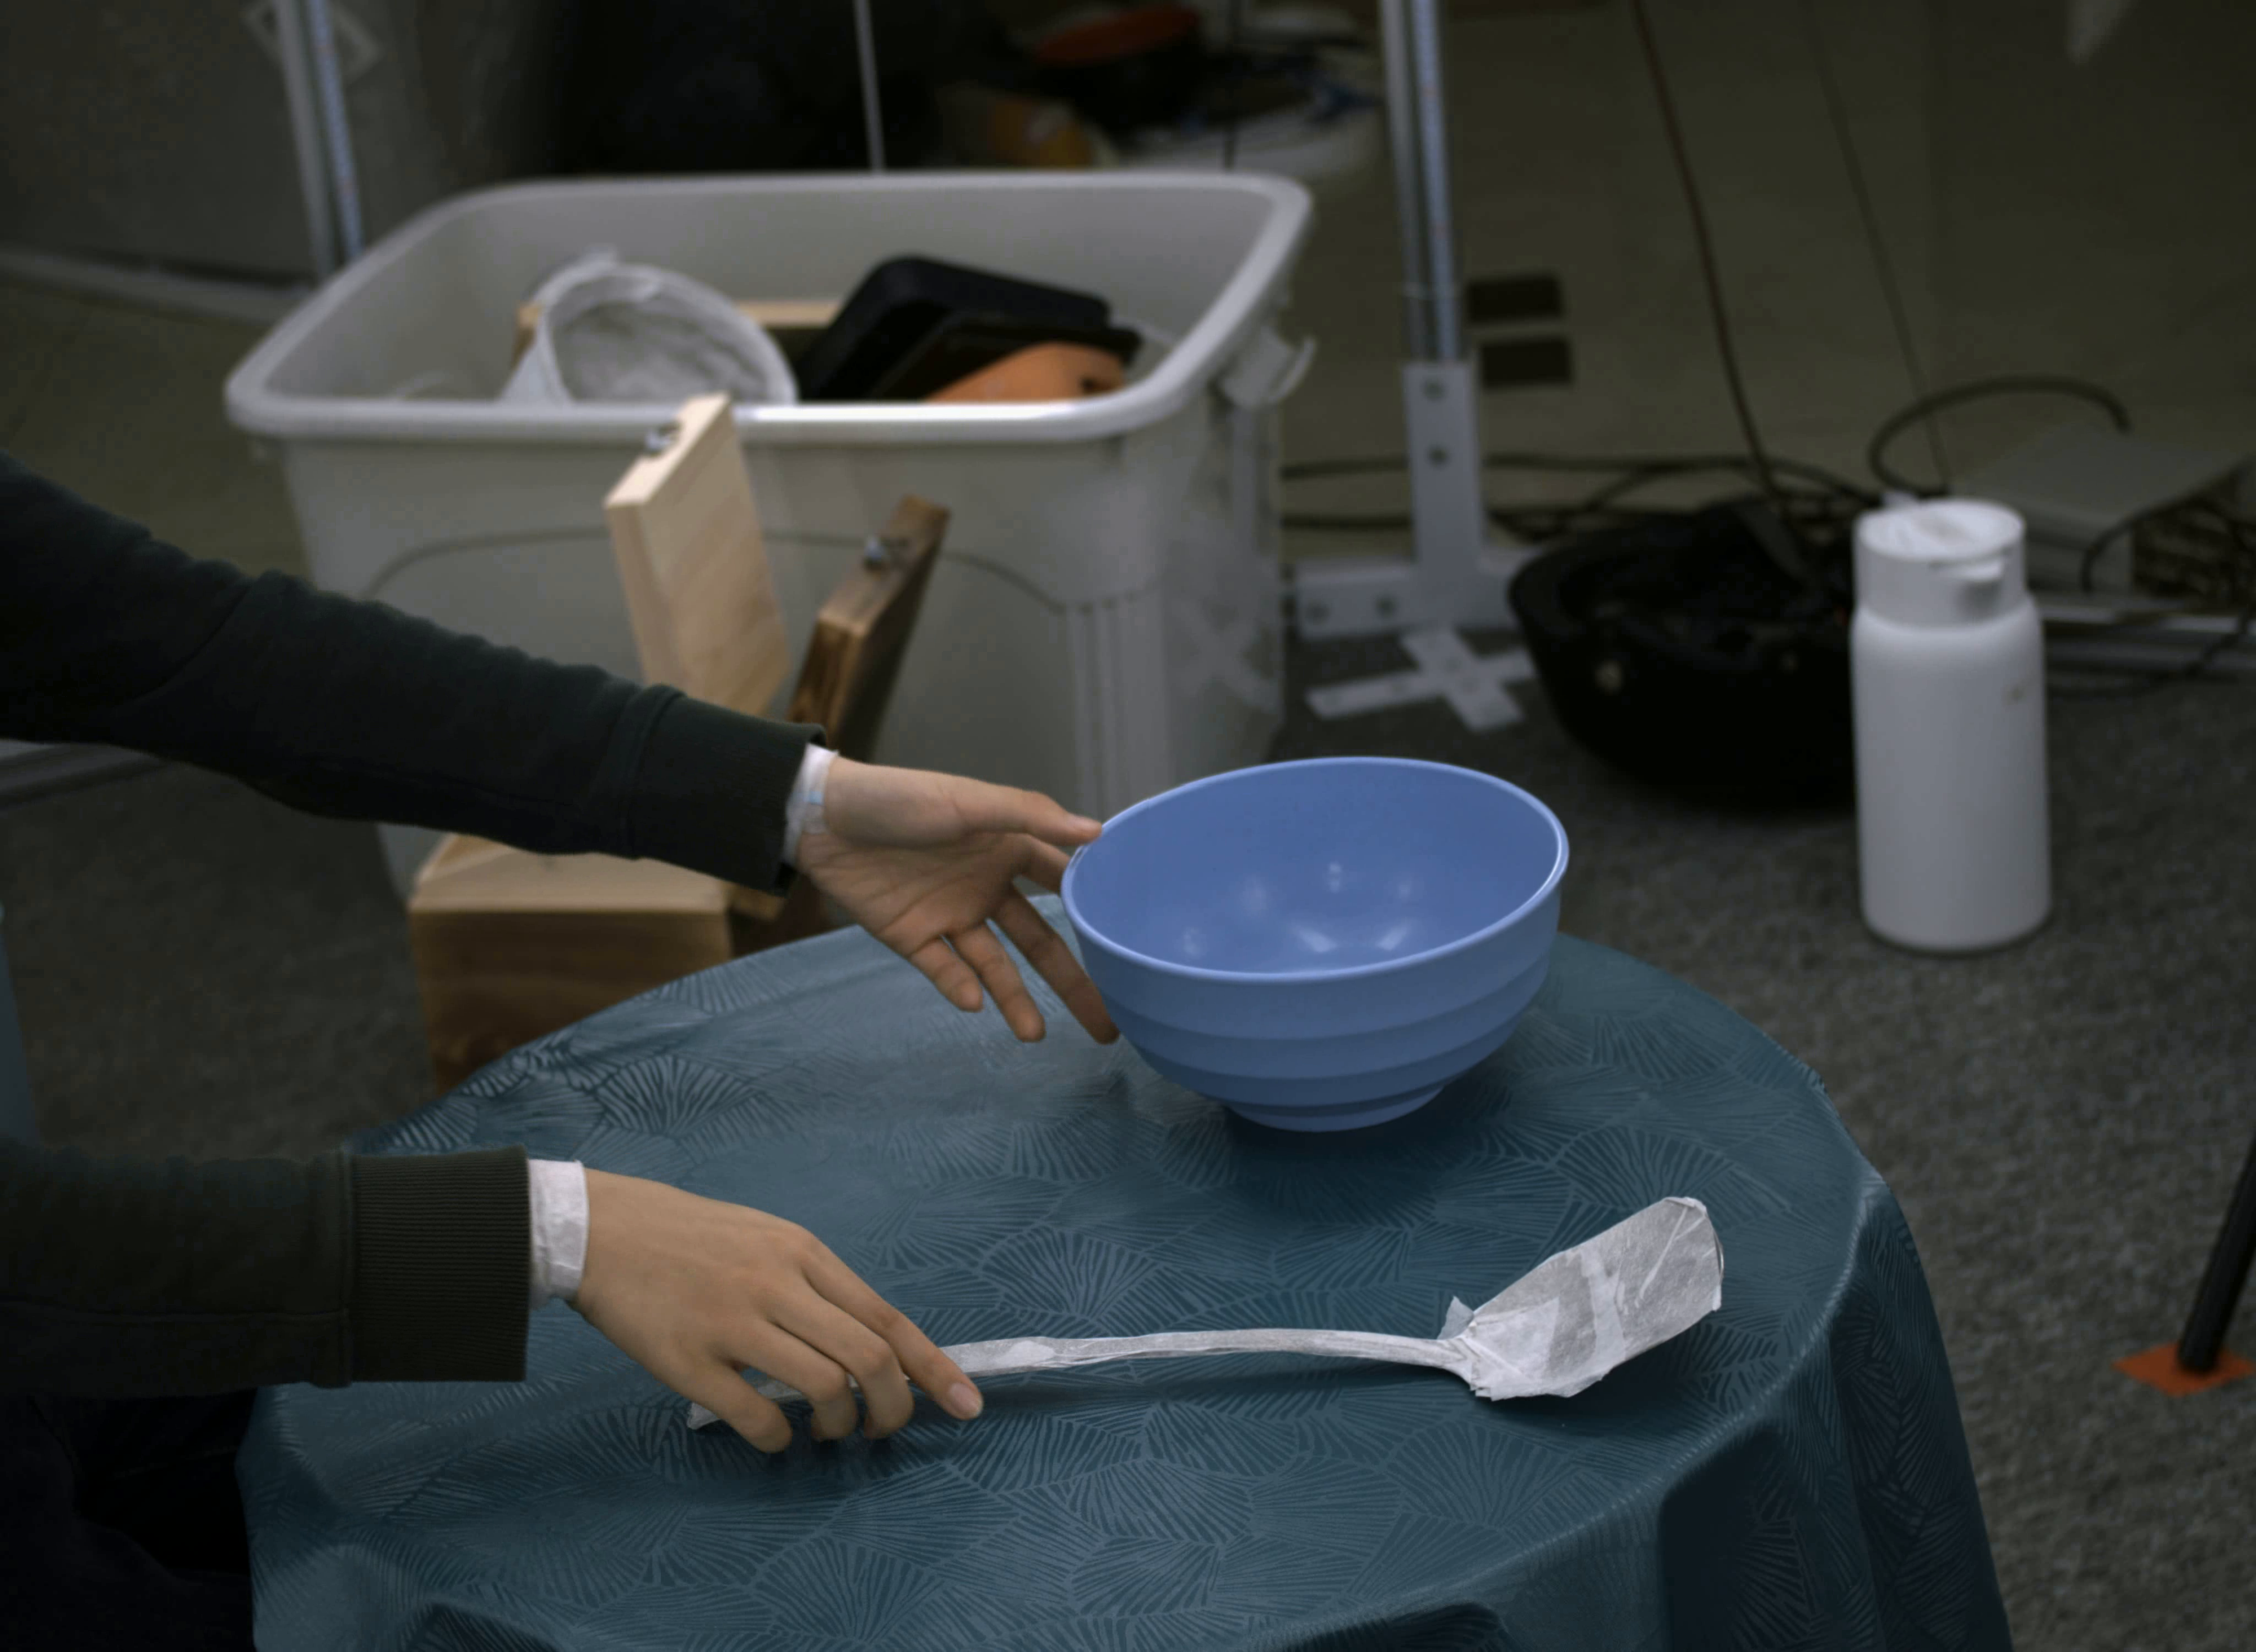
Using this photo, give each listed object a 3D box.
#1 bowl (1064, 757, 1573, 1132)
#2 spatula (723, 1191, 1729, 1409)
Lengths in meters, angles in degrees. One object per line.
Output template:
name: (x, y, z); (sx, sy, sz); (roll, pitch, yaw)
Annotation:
bowl: (0.076, 0.056, 2.197); (0.196, 0.097, 0.193); (-4, 25, 2)
spatula: (0.031, 0.179, 2.014); (0.364, 0.045, 0.097); (-4, 27, 5)
